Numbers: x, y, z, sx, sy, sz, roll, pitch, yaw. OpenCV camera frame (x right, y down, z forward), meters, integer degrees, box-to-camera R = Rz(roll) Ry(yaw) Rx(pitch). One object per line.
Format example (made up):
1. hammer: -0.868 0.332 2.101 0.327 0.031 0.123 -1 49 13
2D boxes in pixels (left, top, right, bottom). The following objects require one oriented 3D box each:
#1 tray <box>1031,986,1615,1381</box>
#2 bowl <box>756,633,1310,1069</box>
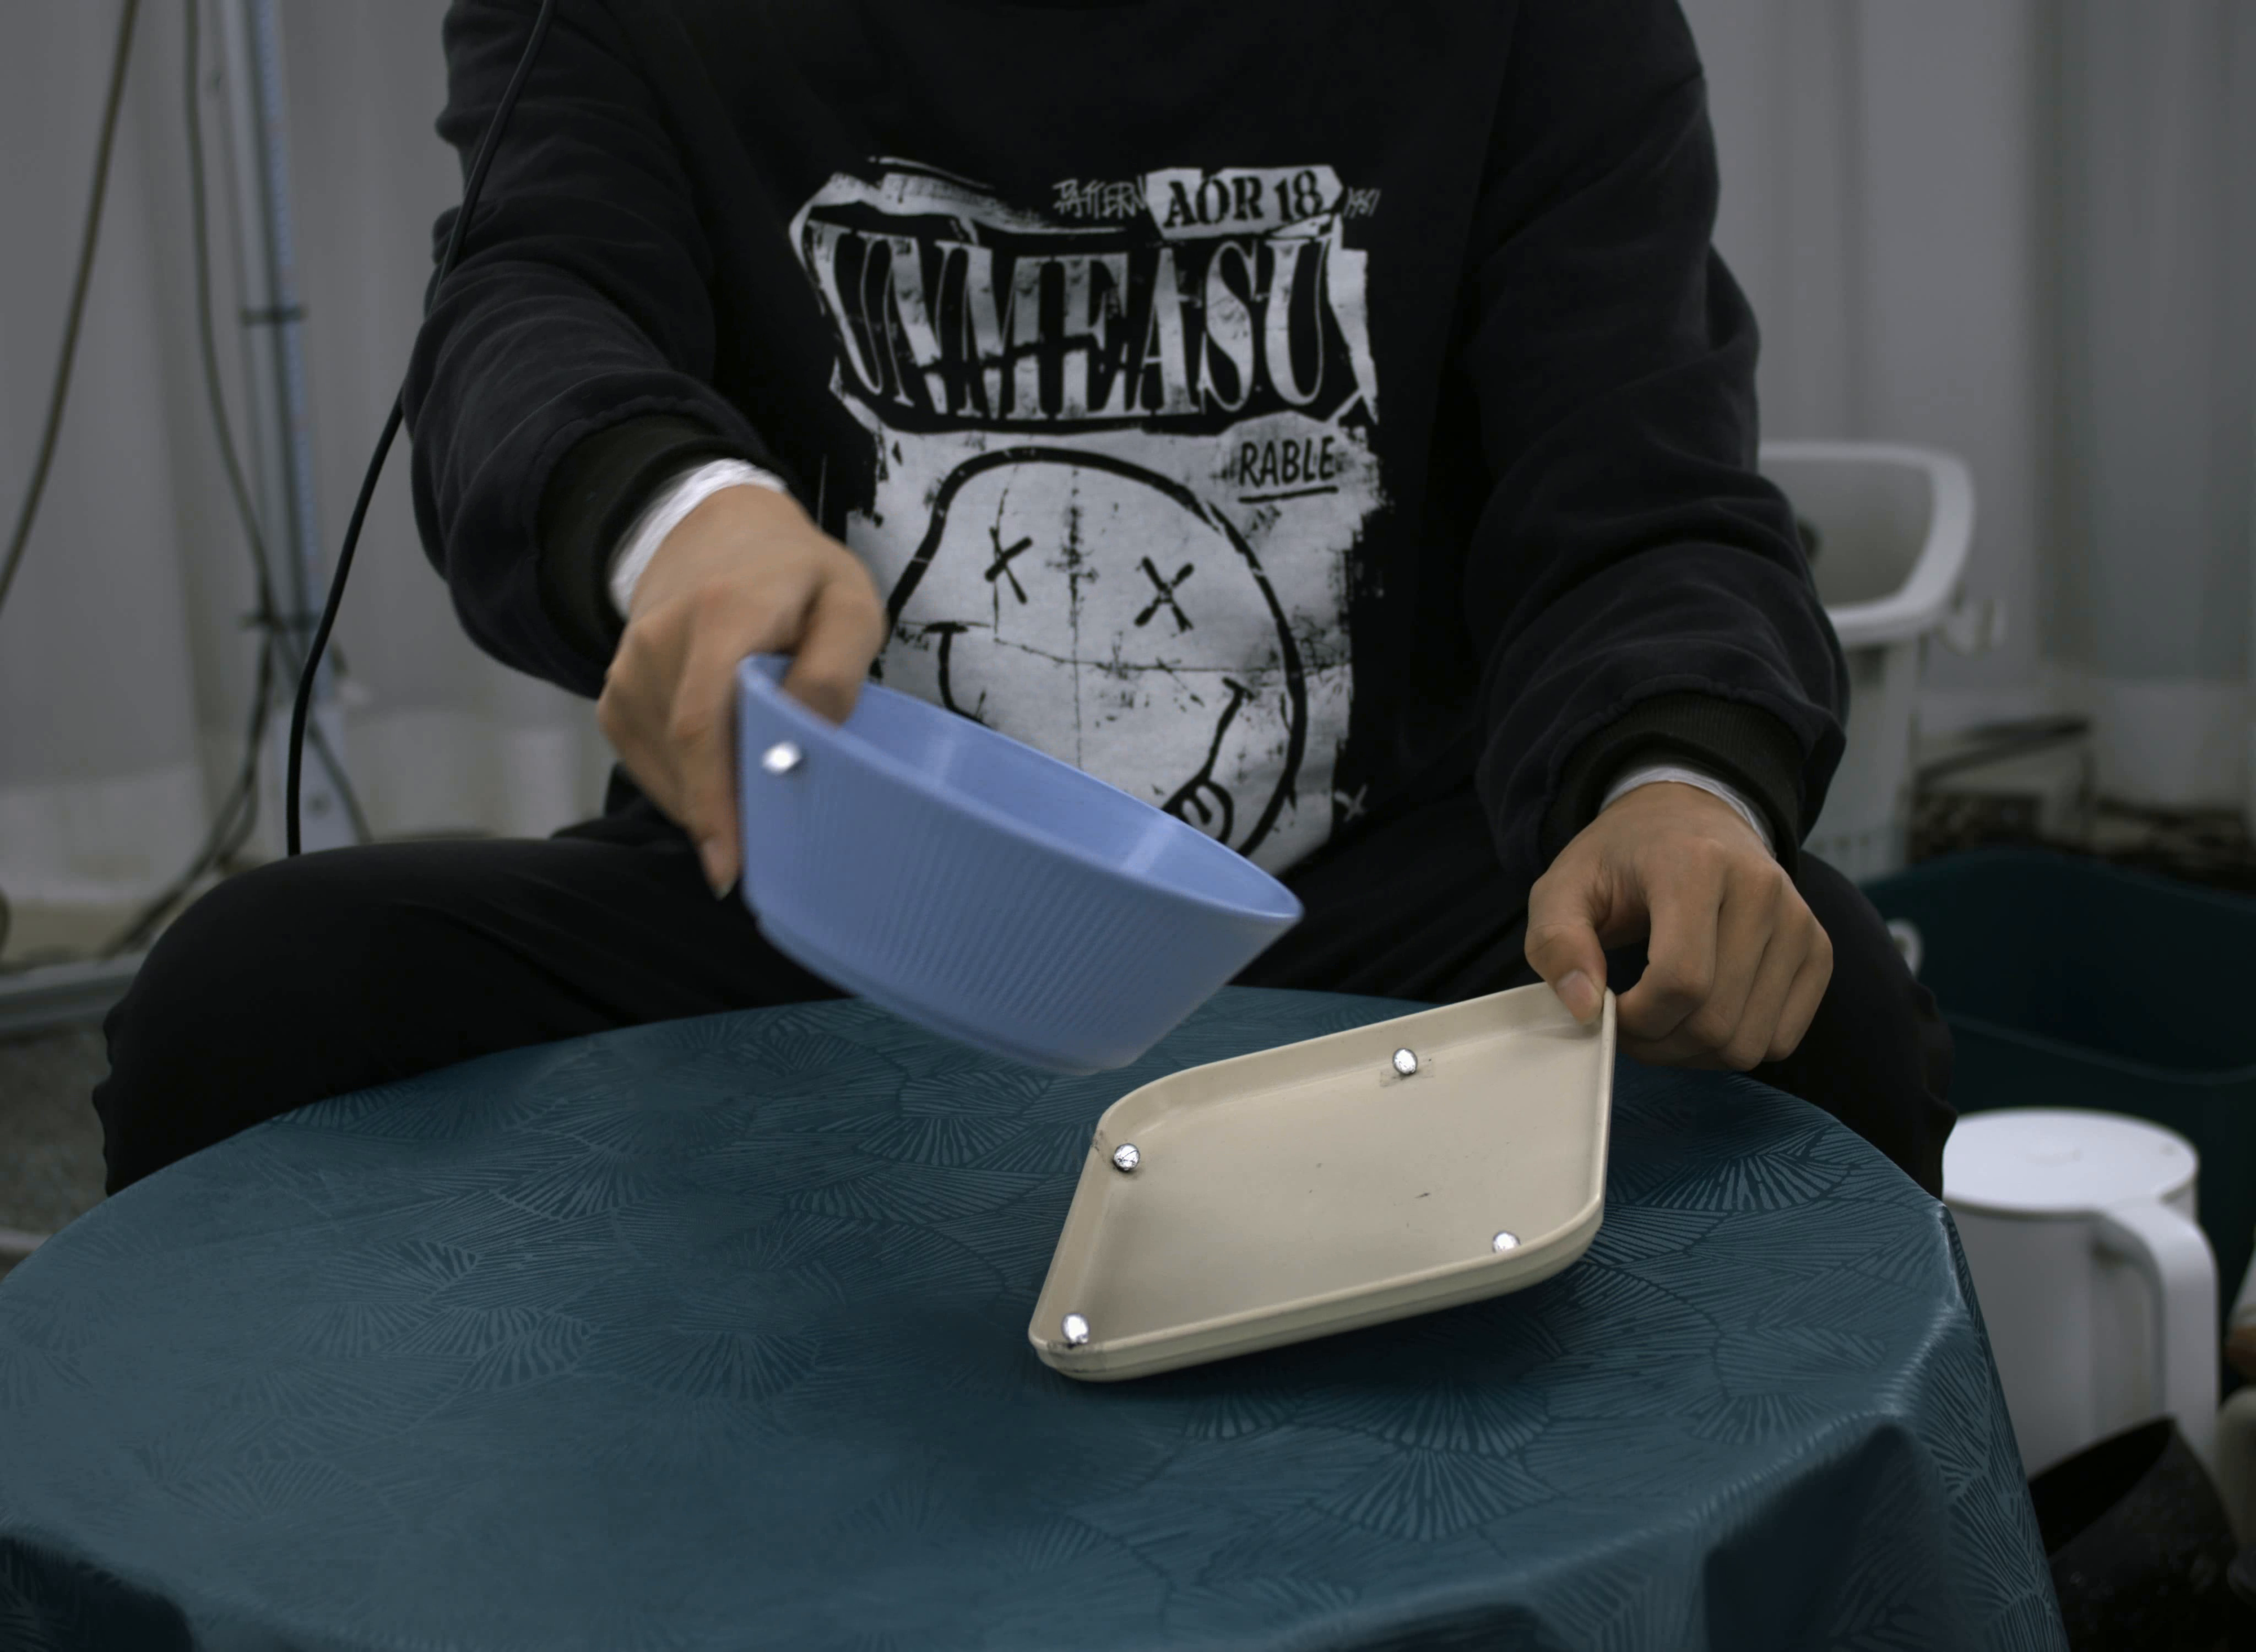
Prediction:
1. tray: 0.064 0.106 1.636 0.171 0.017 0.241 -13 14 10
2. bowl: -0.040 0.014 1.566 0.175 0.070 0.176 27 6 -3
